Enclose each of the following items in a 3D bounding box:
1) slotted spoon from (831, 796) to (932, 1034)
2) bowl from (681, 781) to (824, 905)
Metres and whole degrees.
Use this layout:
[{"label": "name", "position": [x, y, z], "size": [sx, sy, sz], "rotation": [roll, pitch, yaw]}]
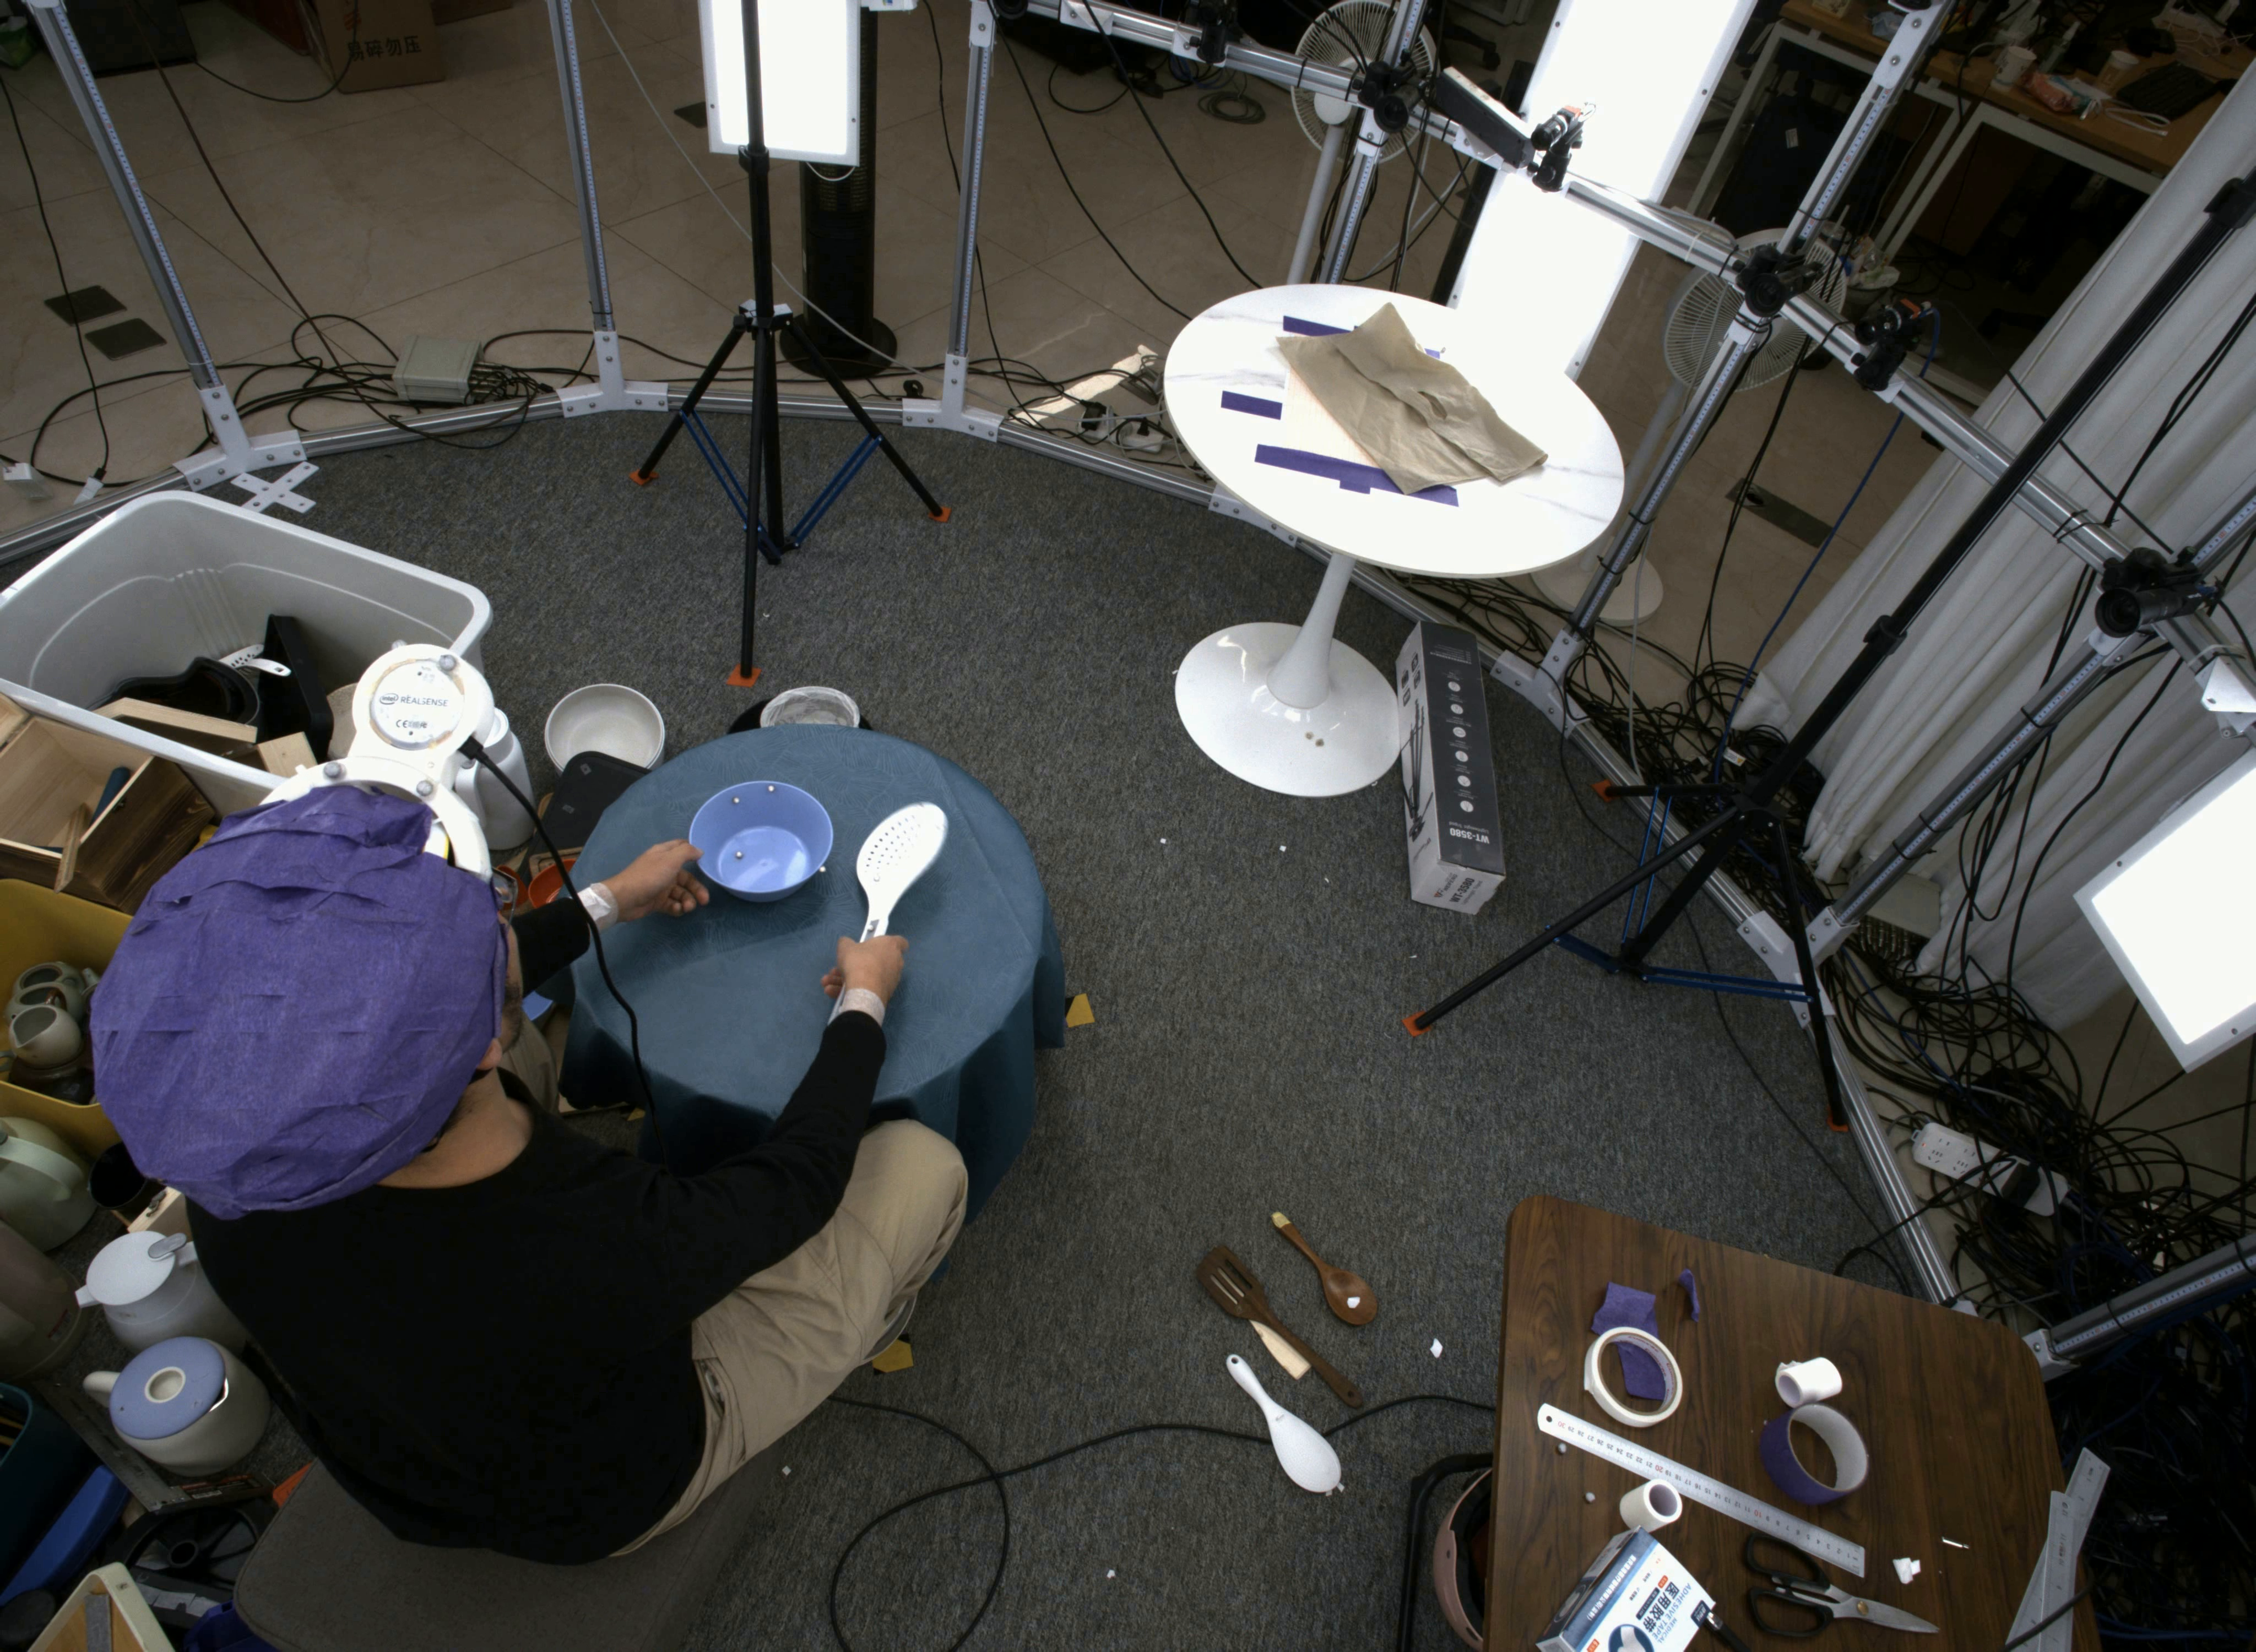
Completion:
[{"label": "slotted spoon", "position": [-0.314, 0.101, 1.611], "size": [0.133, 0.047, 0.344], "rotation": [-17, 40, 27]}, {"label": "bowl", "position": [-0.473, 0.031, 1.638], "size": [0.176, 0.071, 0.173], "rotation": [8, 53, -9]}]
